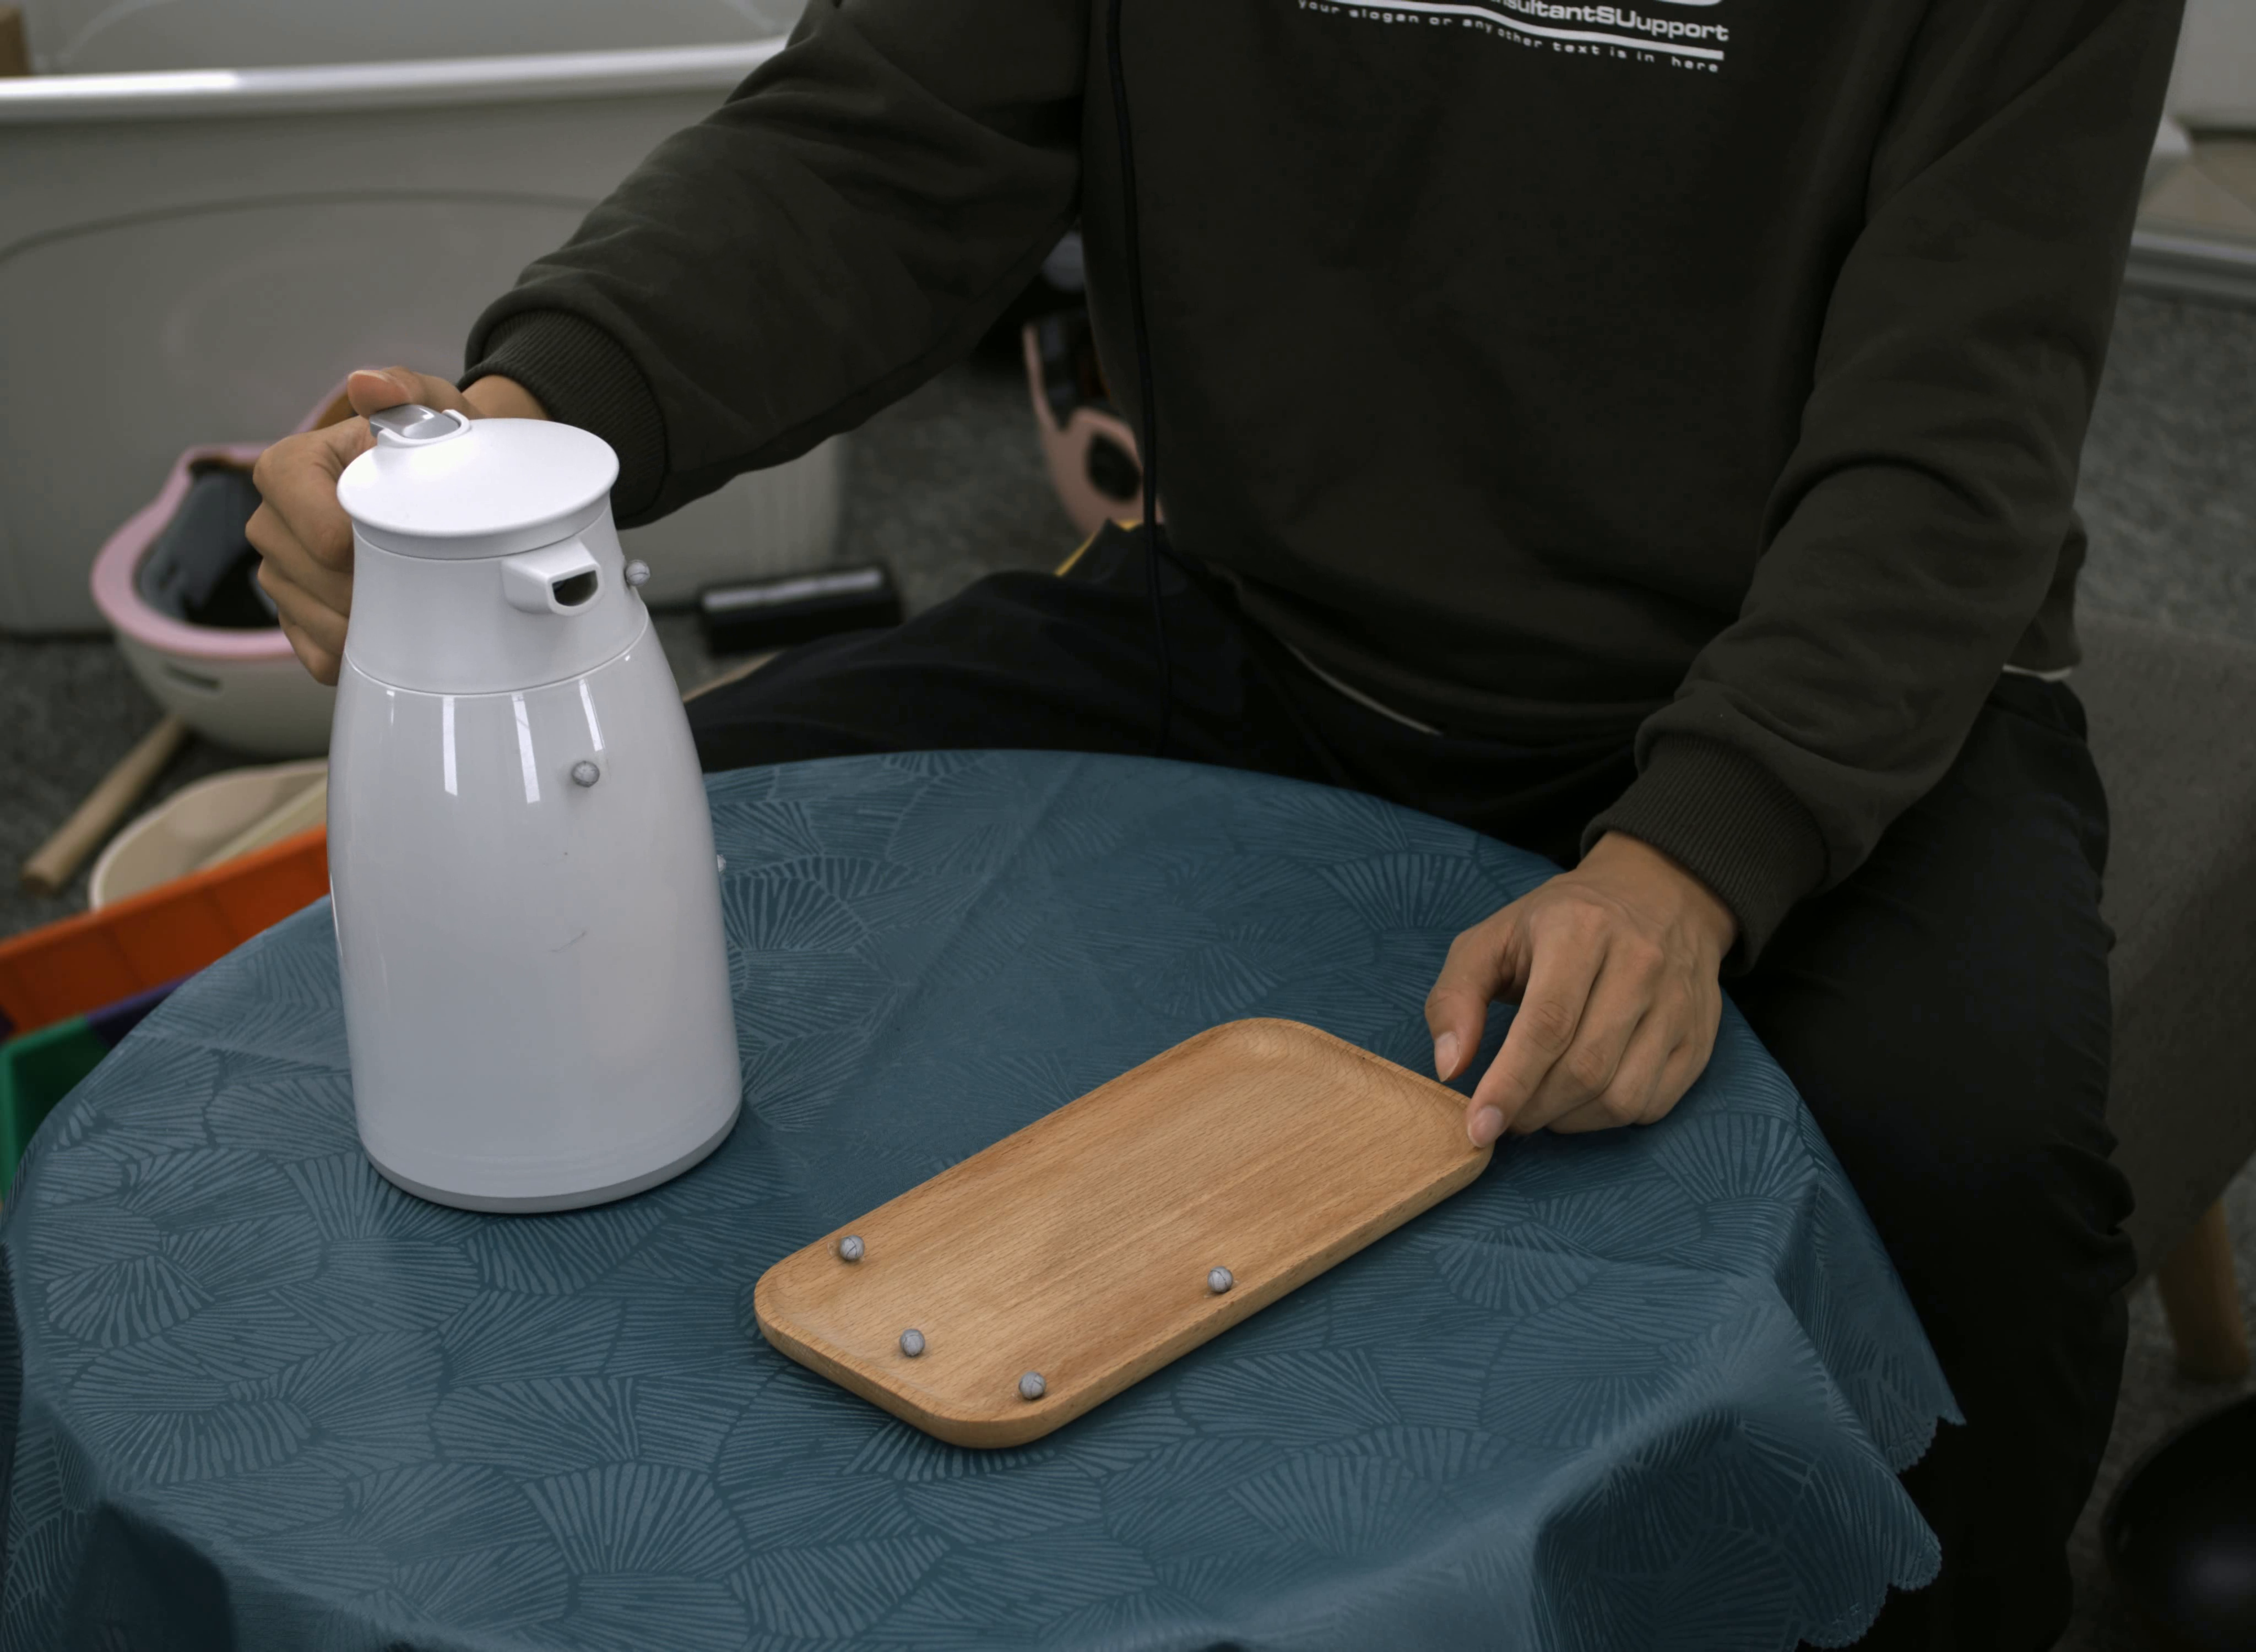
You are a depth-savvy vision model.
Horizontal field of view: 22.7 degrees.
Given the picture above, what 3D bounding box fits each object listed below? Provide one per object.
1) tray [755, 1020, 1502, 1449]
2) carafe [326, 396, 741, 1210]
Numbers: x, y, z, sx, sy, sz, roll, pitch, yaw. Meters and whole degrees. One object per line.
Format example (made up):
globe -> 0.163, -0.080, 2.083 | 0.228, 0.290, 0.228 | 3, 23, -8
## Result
tray -> 0.003, 0.131, 1.830 | 0.253, 0.022, 0.130 | -25, 37, -38
carafe -> -0.216, -0.018, 1.882 | 0.133, 0.246, 0.168 | -21, 30, -31
